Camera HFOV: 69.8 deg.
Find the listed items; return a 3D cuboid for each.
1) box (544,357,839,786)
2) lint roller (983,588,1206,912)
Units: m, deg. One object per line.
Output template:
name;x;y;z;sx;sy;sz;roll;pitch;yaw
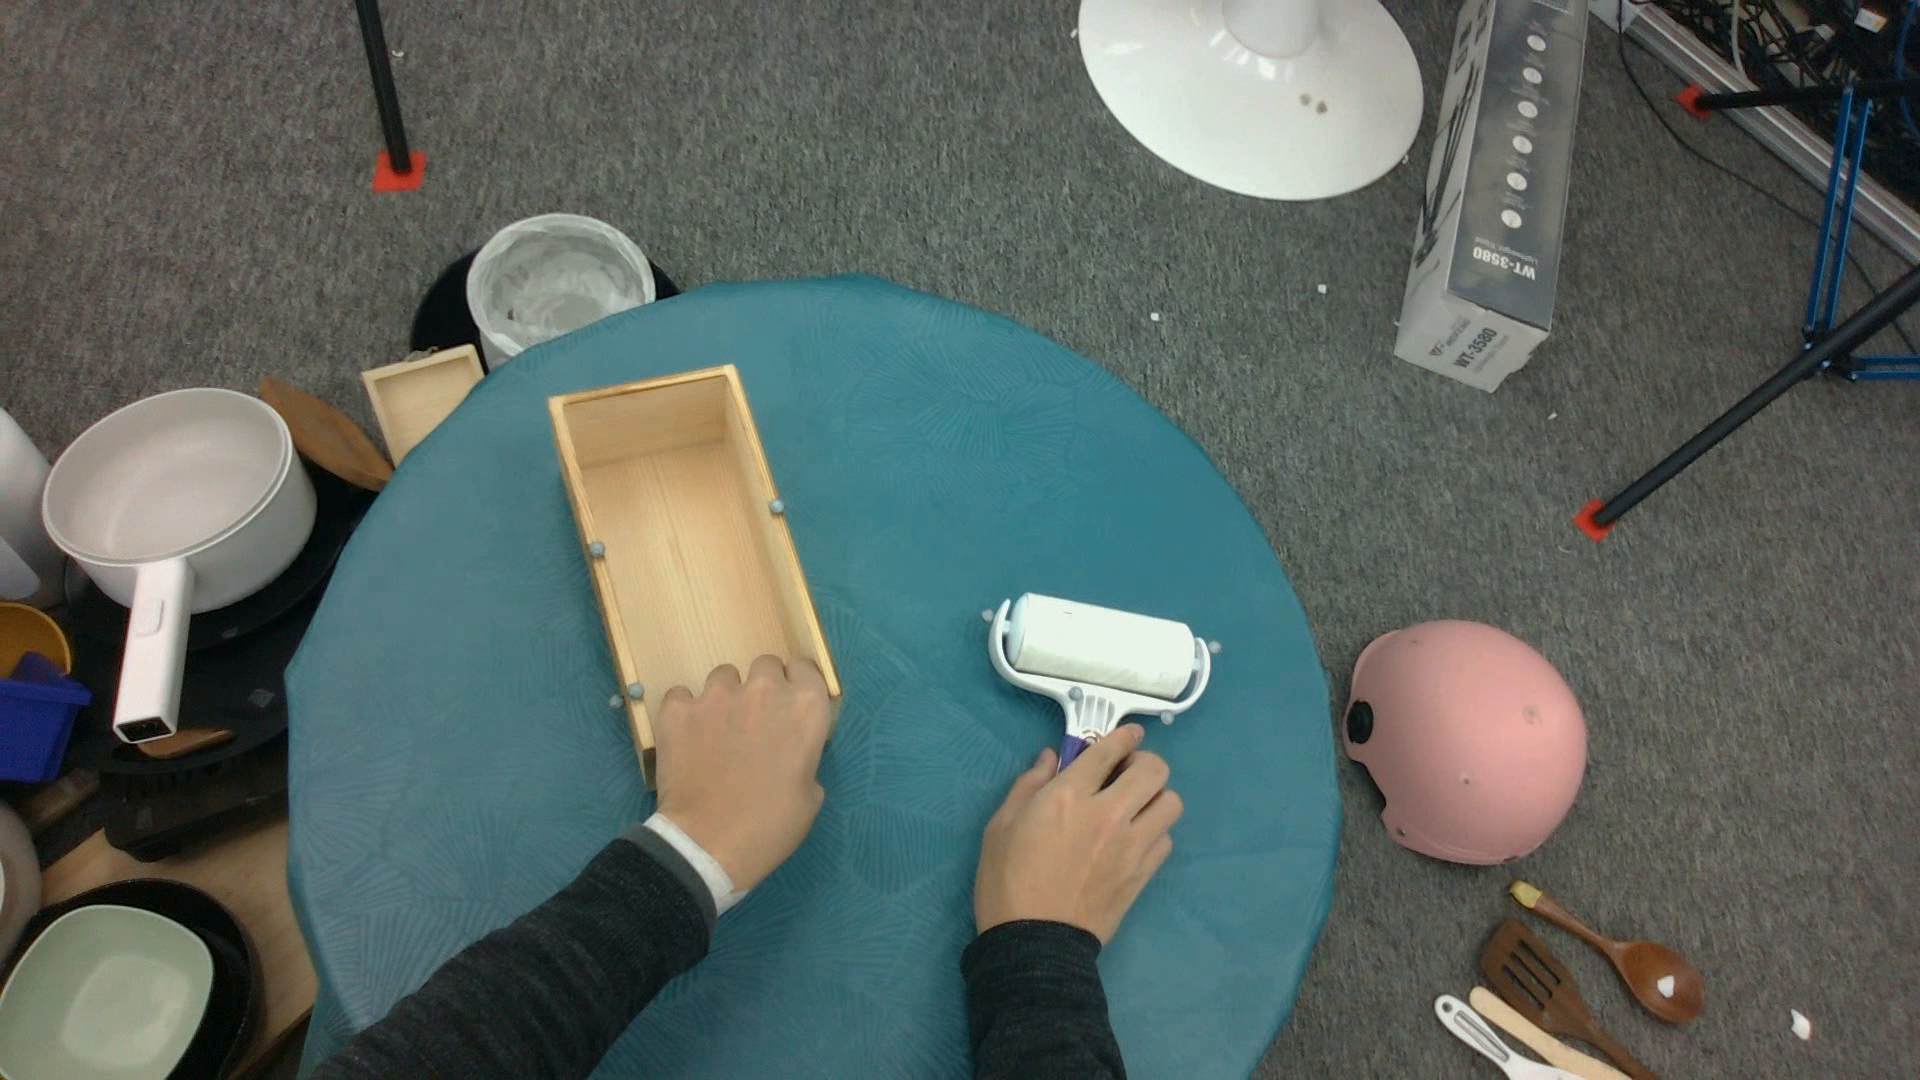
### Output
box;-0.154;0.015;0.771;0.108;0.080;0.212;-14;69;-18
lint roller;0.071;0.117;0.787;0.133;0.050;0.181;13;60;-6
